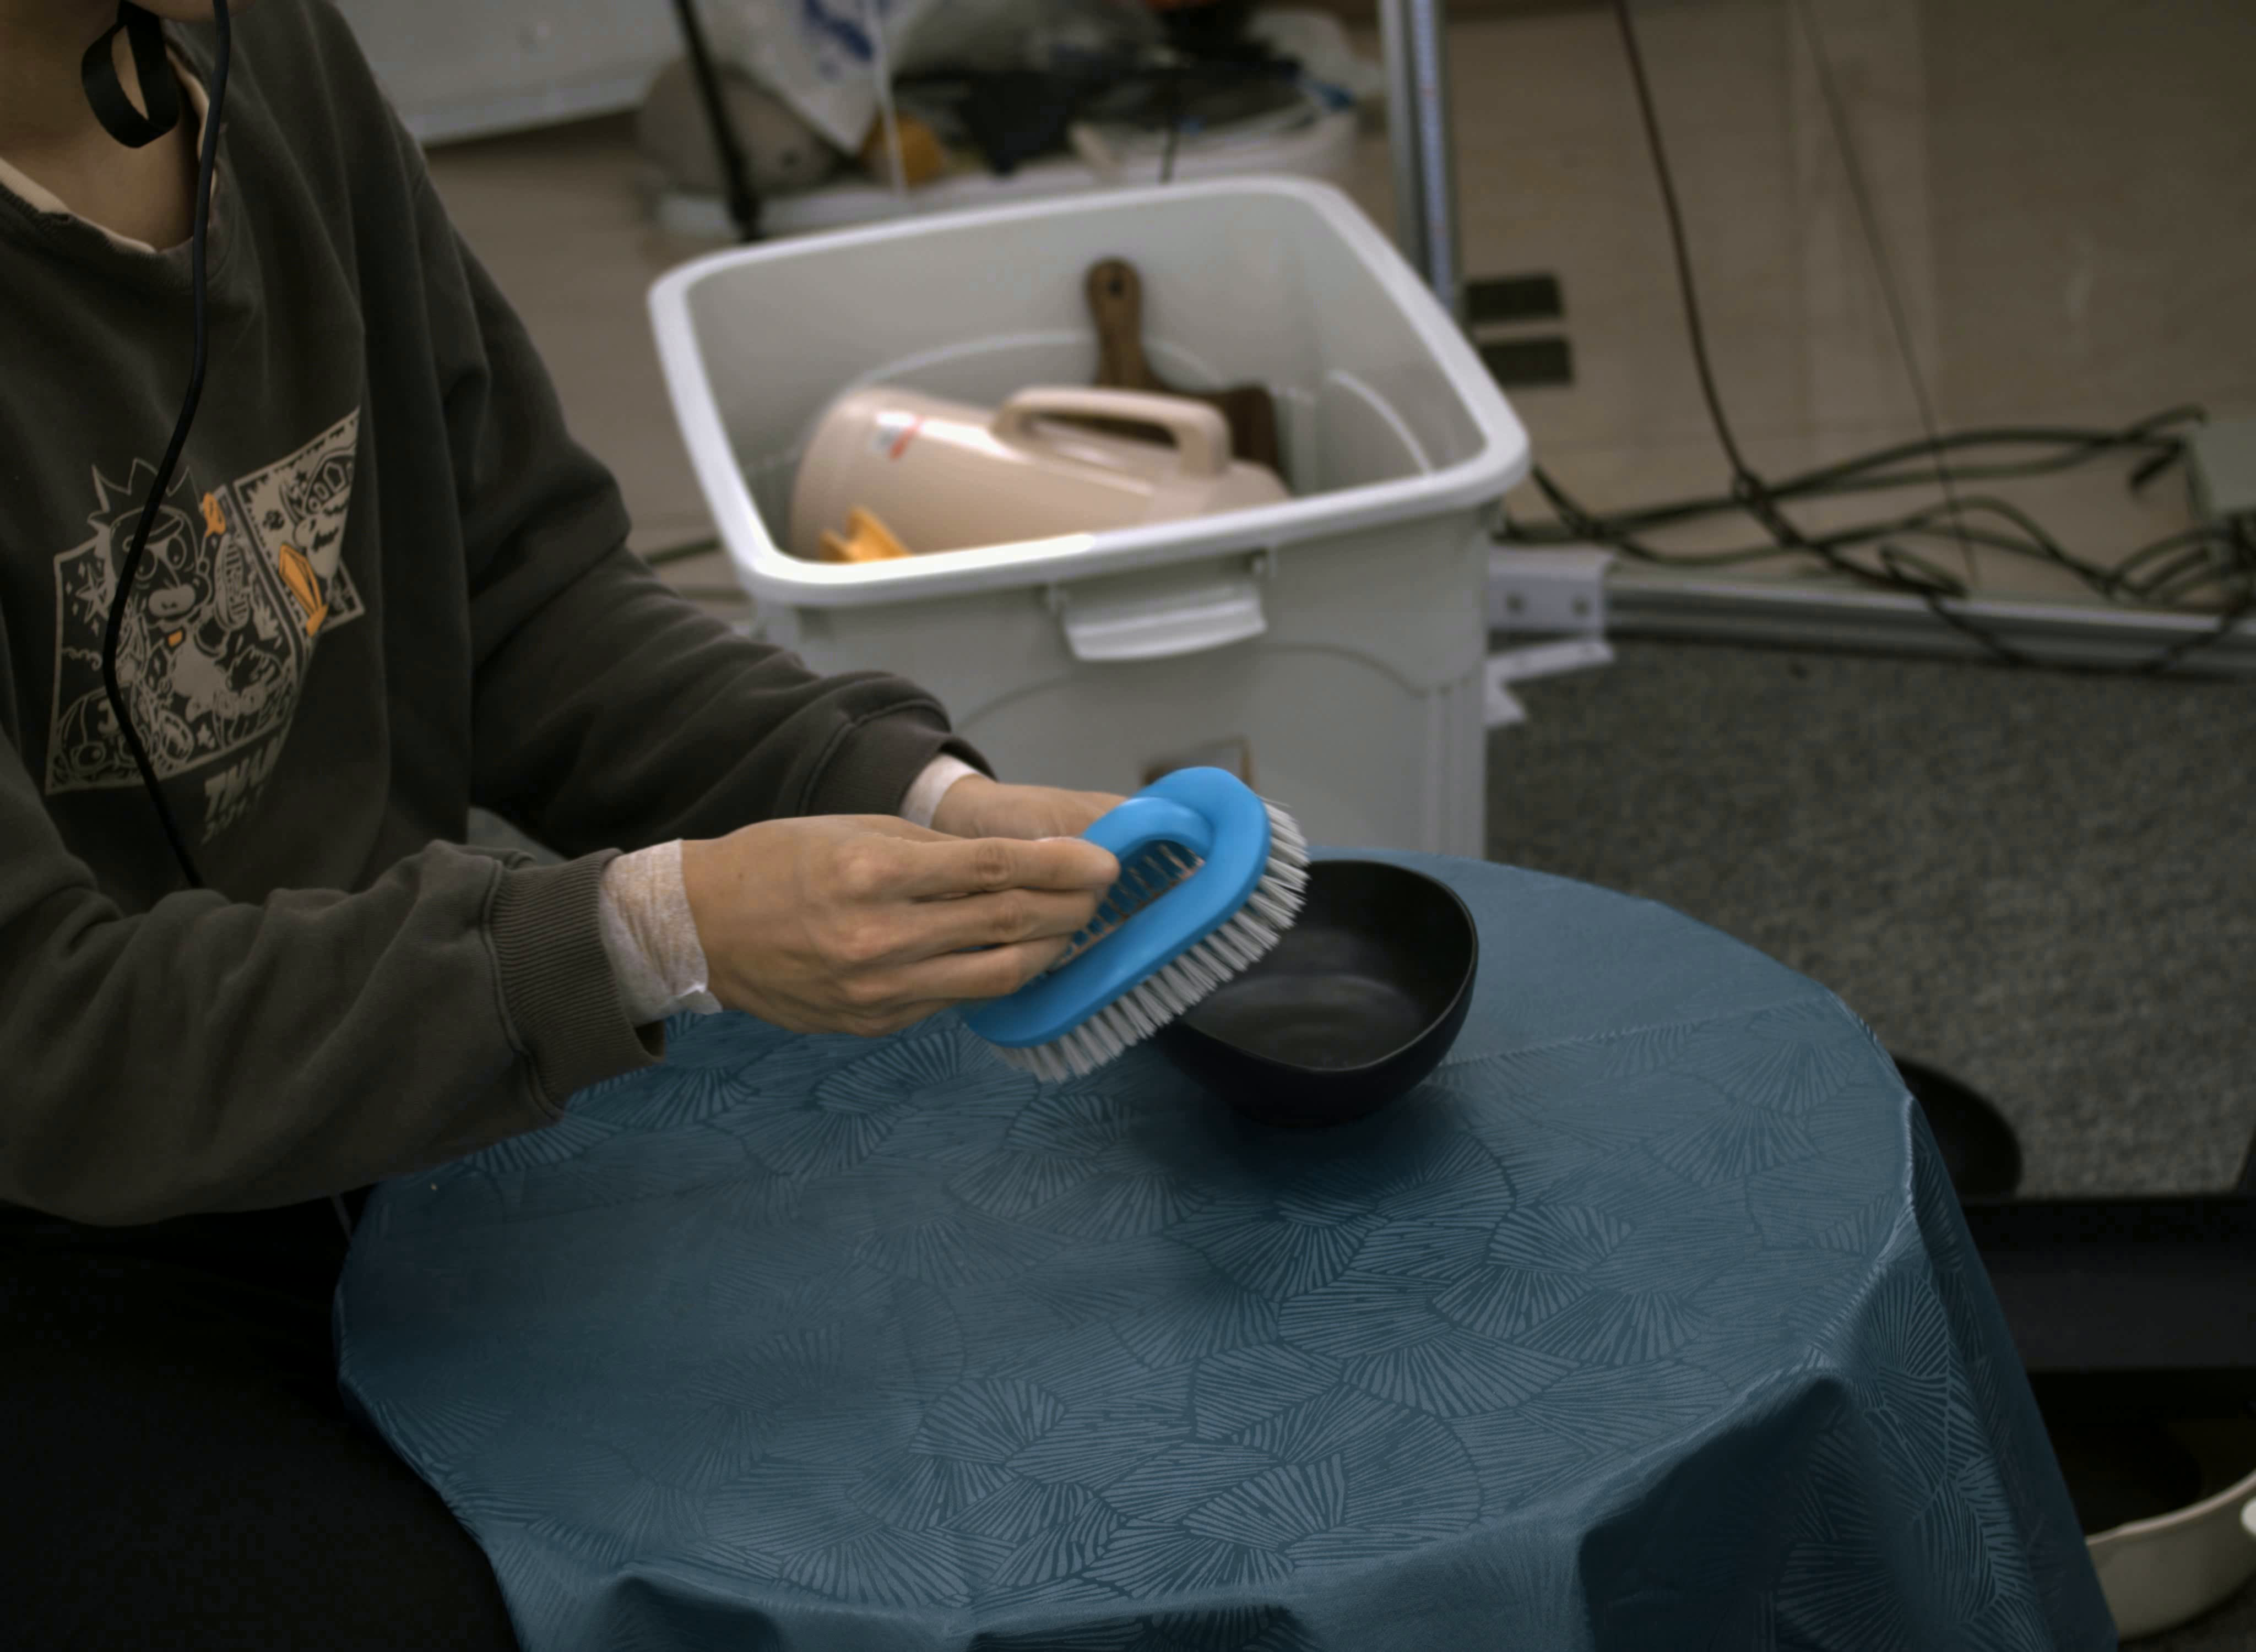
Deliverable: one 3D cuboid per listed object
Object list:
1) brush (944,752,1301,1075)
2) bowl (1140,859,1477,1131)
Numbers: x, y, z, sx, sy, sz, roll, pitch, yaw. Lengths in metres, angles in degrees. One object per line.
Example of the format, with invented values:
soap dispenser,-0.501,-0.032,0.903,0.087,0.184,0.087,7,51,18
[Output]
brush,-0.008,0.027,2.049,0.142,0.064,0.083,-34,49,14
bowl,0.069,0.073,2.196,0.137,0.068,0.168,-13,27,-12
